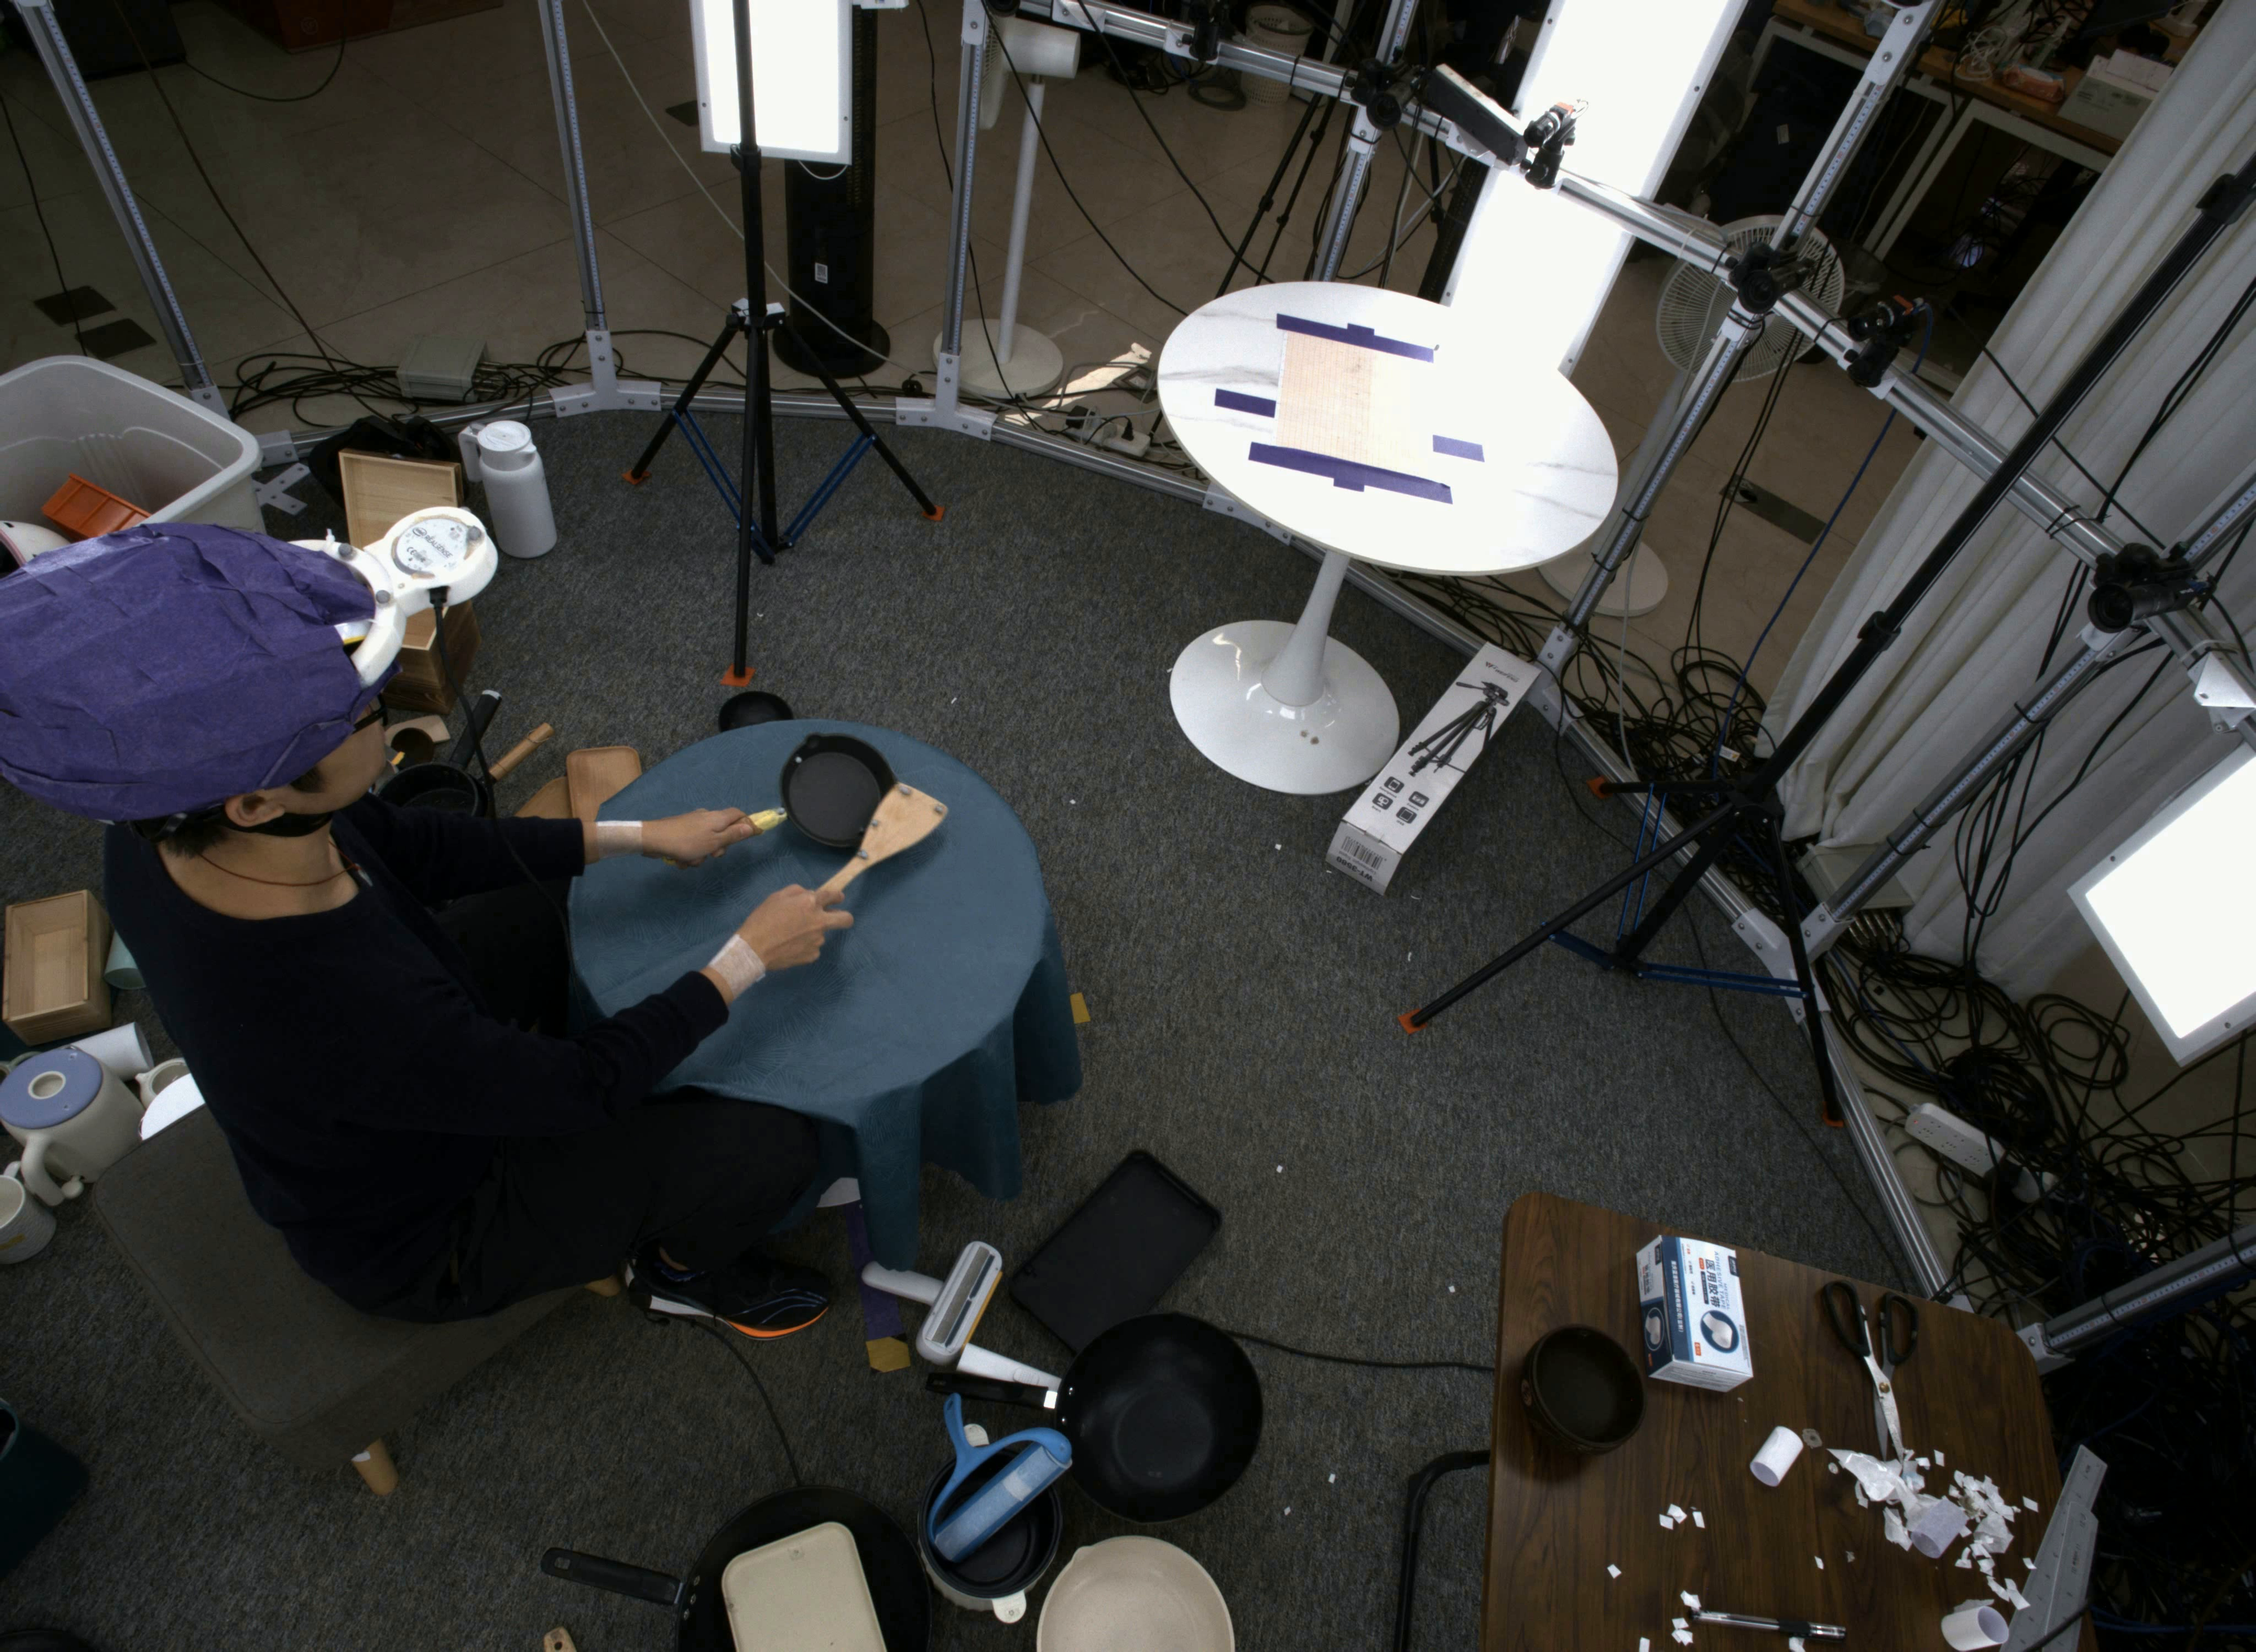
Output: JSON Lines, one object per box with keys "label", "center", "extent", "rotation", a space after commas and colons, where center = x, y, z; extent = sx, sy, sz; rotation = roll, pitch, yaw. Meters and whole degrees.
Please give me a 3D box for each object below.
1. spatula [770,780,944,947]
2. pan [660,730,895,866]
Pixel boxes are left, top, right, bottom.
{"label": "spatula", "center": [-0.344, 0.042, 1.623], "extent": [0.079, 0.017, 0.326], "rotation": [35, 43, 2]}
{"label": "pan", "center": [-0.449, -0.018, 1.656], "extent": [0.326, 0.049, 0.170], "rotation": [-24, 87, -33]}
